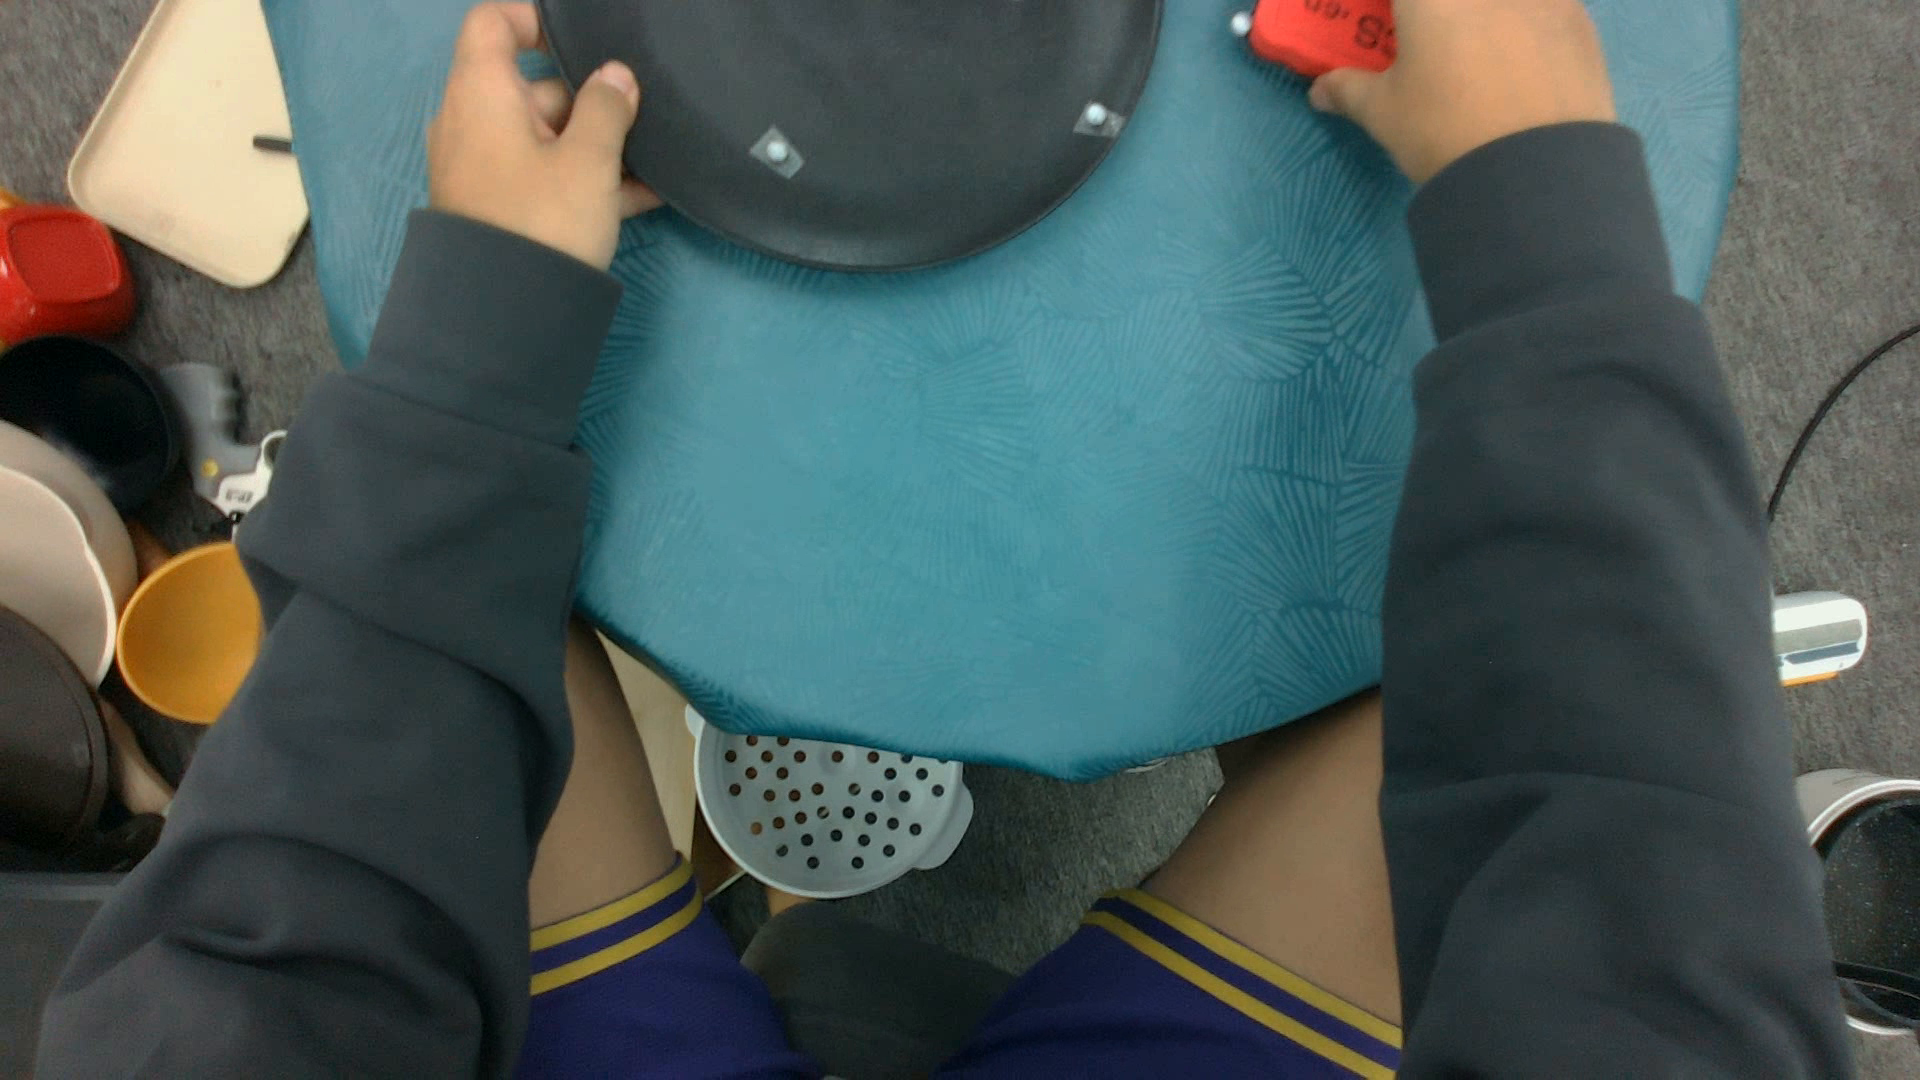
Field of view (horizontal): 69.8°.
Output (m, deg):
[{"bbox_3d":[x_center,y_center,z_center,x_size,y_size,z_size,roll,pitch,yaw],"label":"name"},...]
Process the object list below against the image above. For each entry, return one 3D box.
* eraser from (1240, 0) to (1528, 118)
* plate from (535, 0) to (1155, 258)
[{"bbox_3d":[0.171,-0.216,0.554,0.108,0.023,0.059,19,88,-10],"label":"eraser"},{"bbox_3d":[-0.043,-0.230,0.534,0.244,0.023,0.244,0,92,-10],"label":"plate"}]
